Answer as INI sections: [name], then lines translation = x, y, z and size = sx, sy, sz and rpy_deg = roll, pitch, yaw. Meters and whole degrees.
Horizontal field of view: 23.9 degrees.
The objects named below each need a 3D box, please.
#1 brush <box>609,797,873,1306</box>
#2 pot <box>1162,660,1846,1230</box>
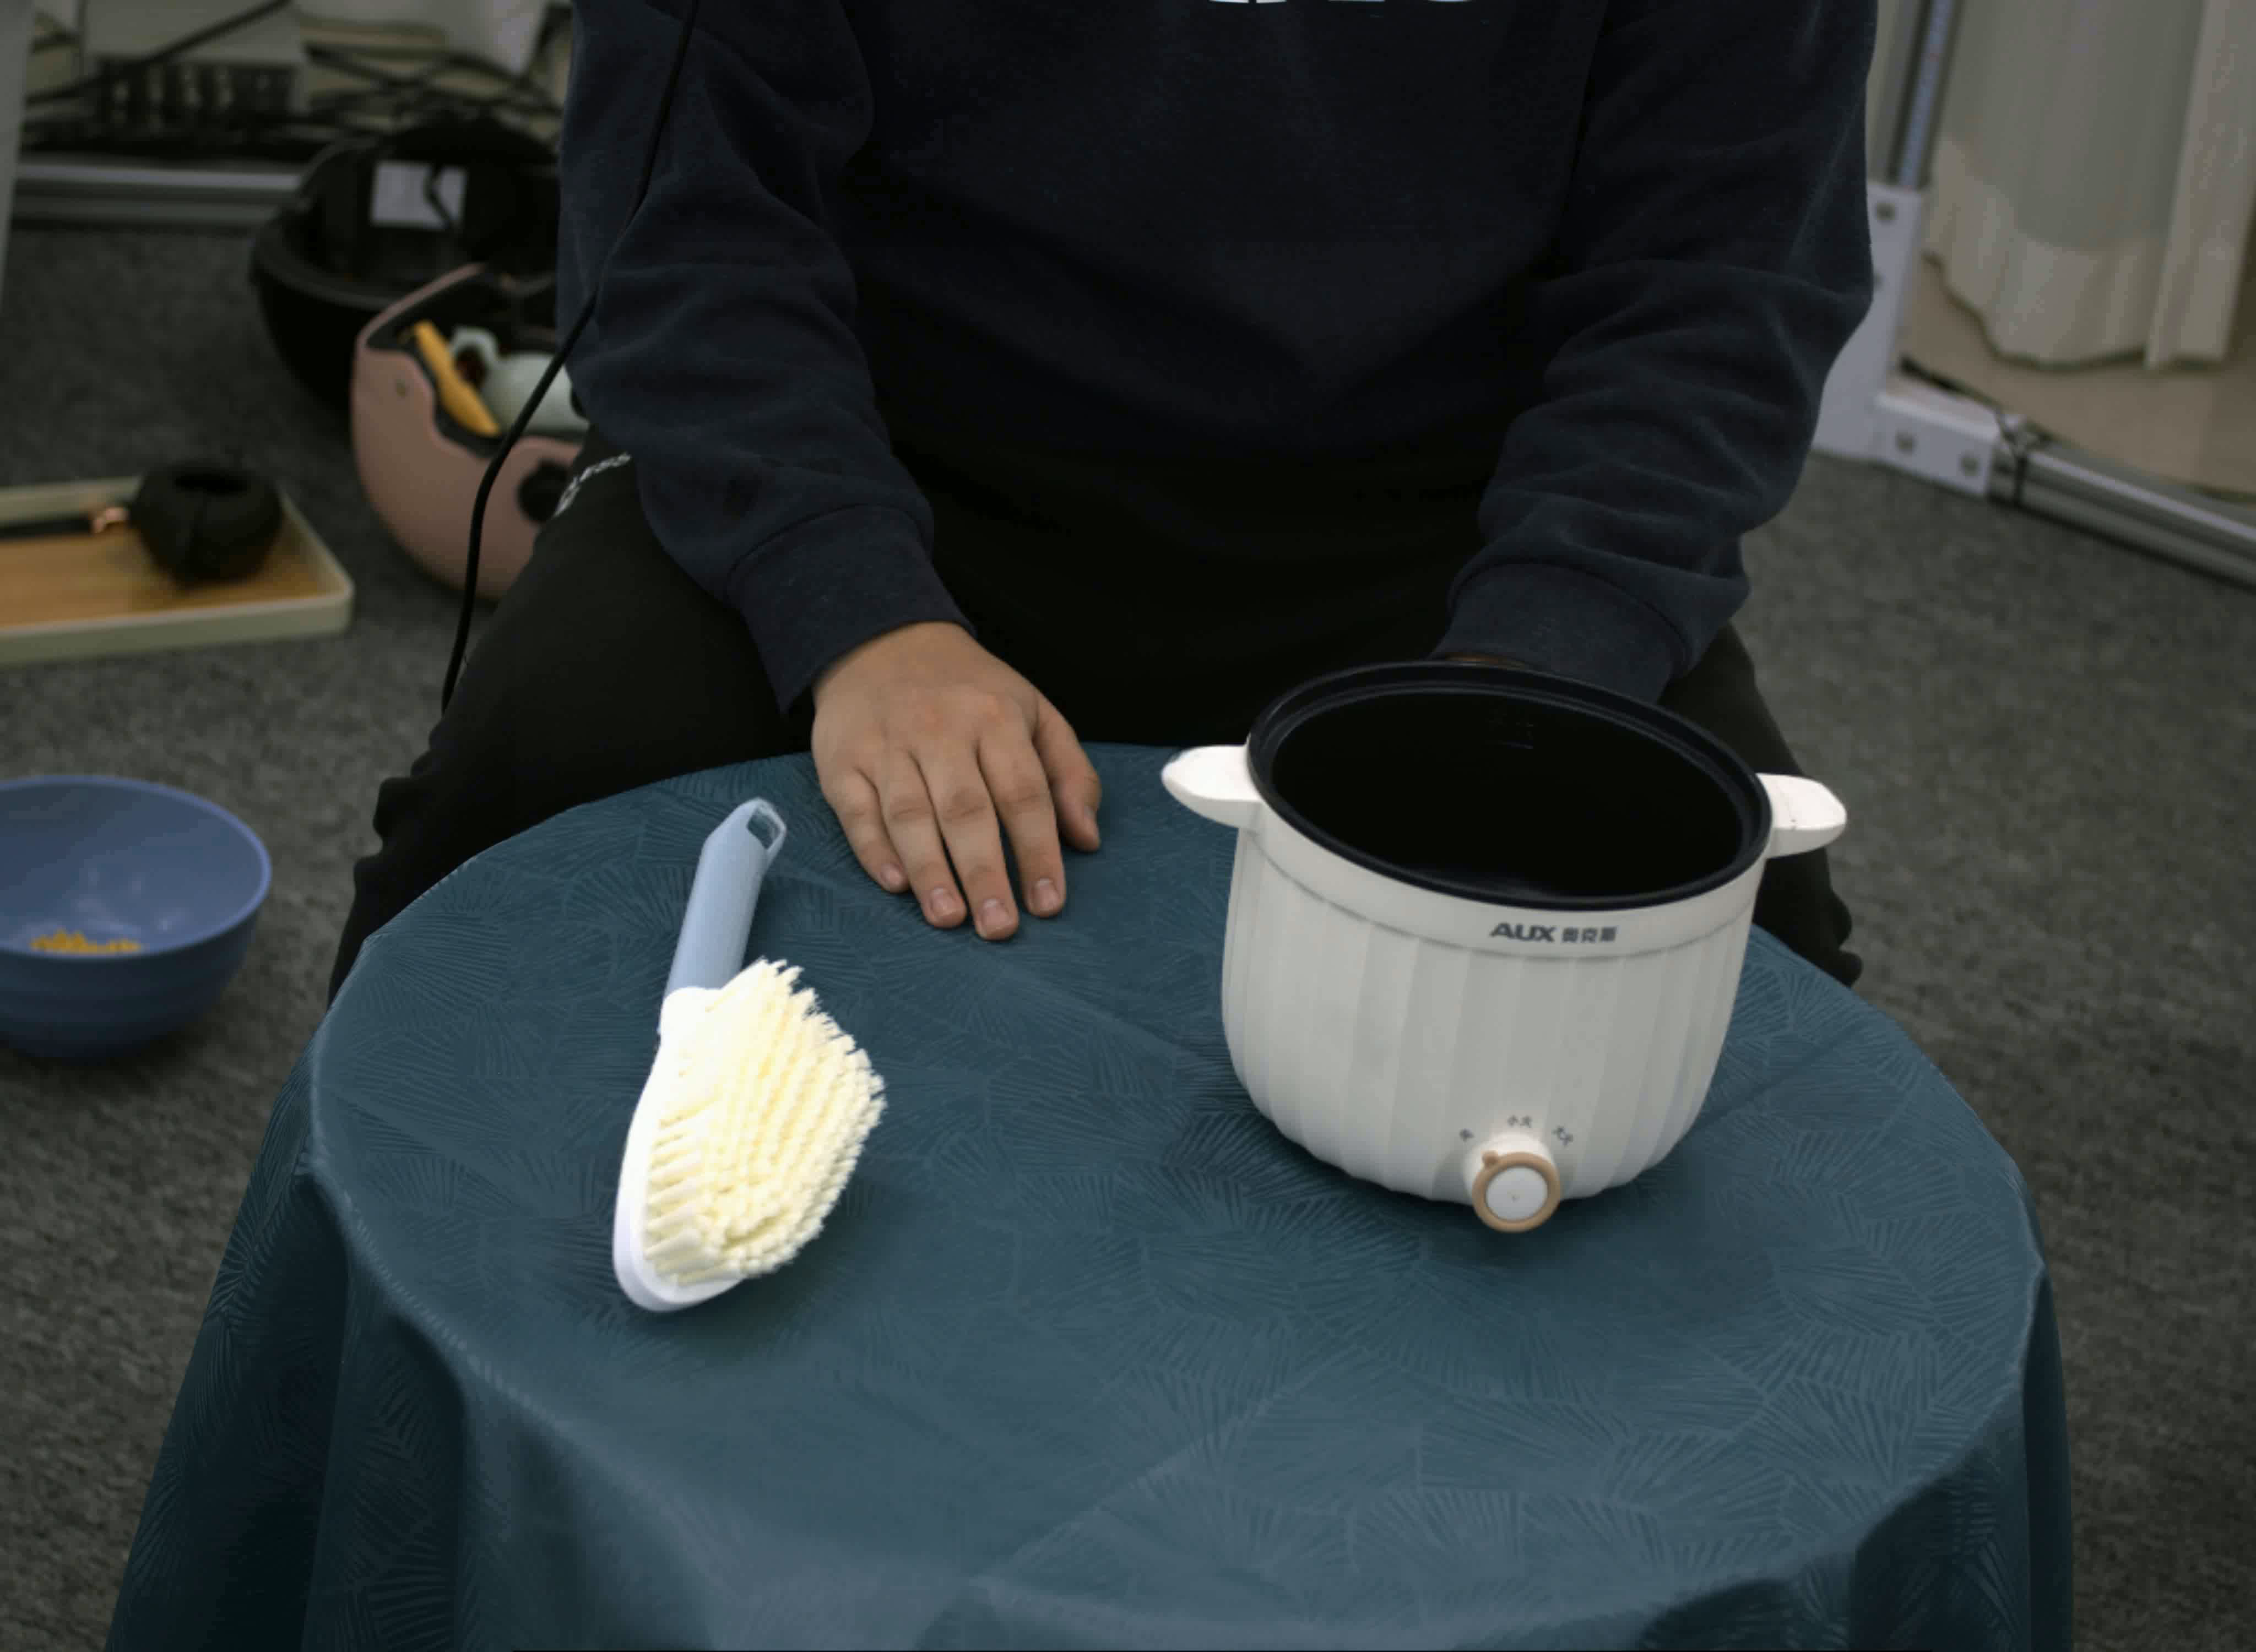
[brush]
translation = -0.124, 0.053, 1.823
size = 0.084, 0.083, 0.327
rpy_deg = 2, 28, 2
[pot]
translation = 0.124, 0.044, 1.840
size = 0.239, 0.142, 0.192
rpy_deg = 2, 24, -8
